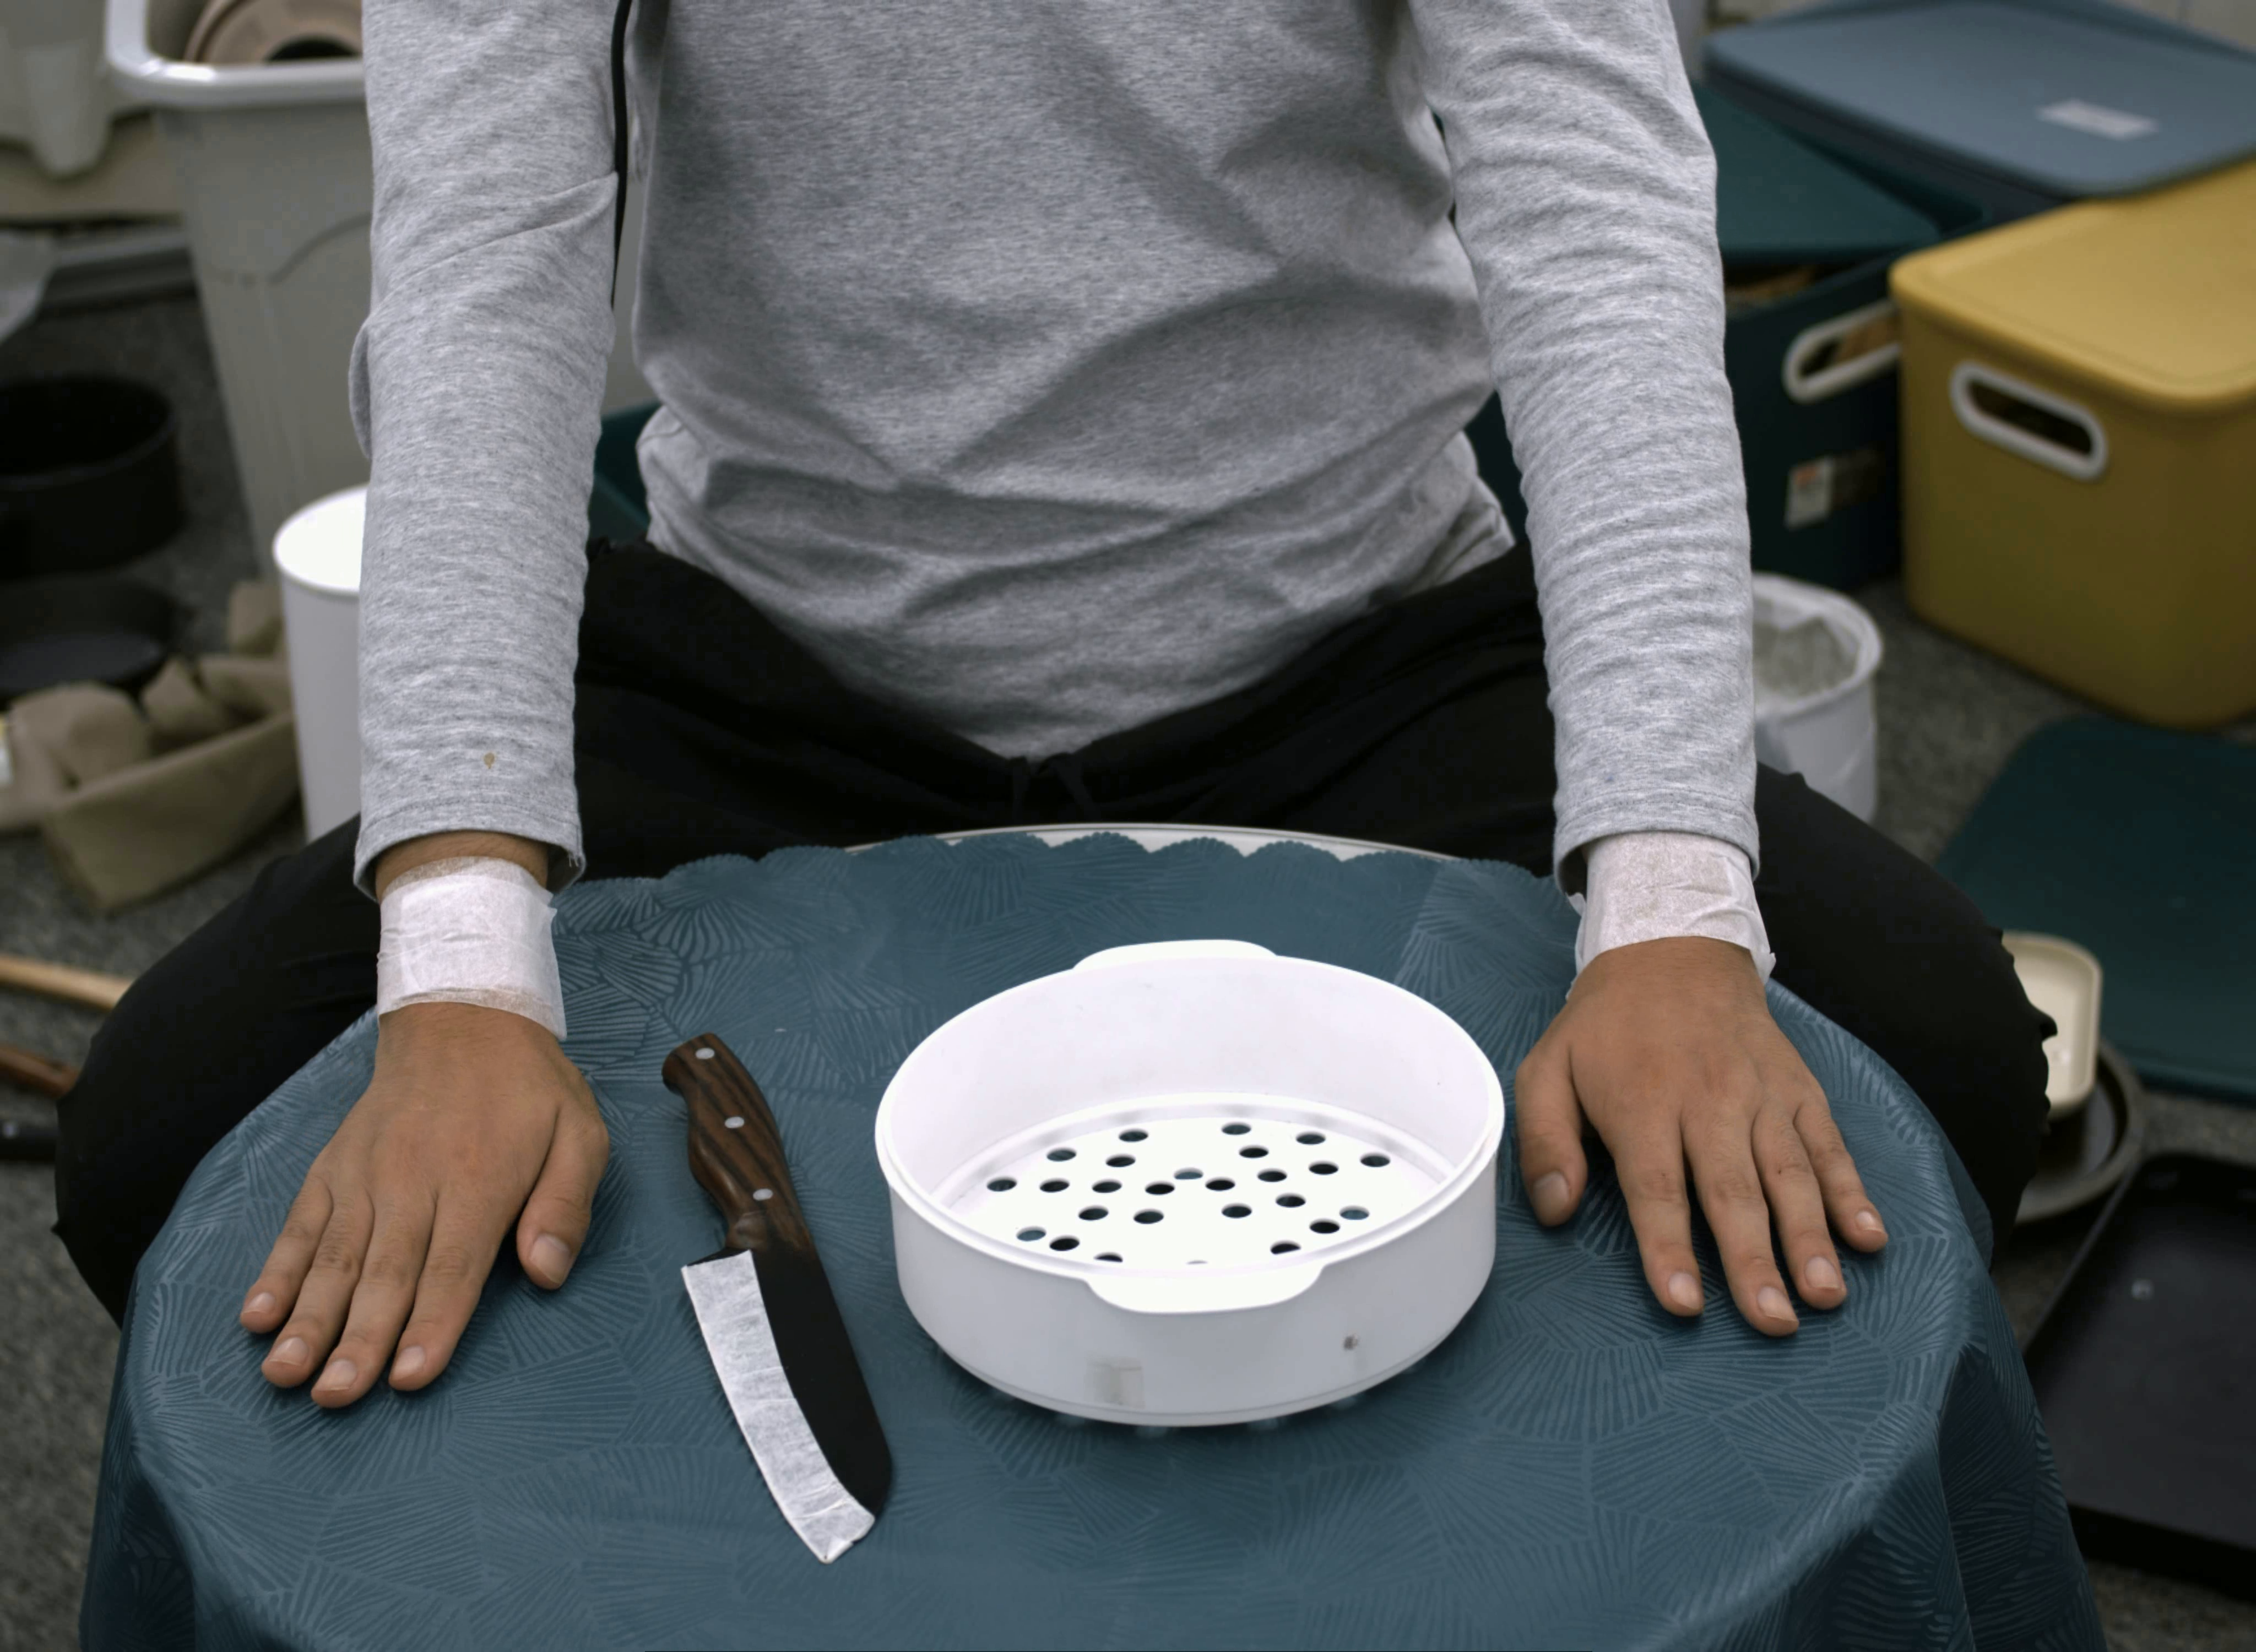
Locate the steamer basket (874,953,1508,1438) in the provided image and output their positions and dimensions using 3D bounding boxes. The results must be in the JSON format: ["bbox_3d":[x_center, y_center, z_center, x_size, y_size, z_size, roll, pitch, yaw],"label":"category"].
[{"bbox_3d":[0.021,0.119,1.792,0.201,0.068,0.234,-3,26,-1],"label":"steamer basket"}]

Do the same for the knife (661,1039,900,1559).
[{"bbox_3d":[-0.116,0.150,1.802,0.050,0.020,0.293,-11,31,-8],"label":"knife"}]
